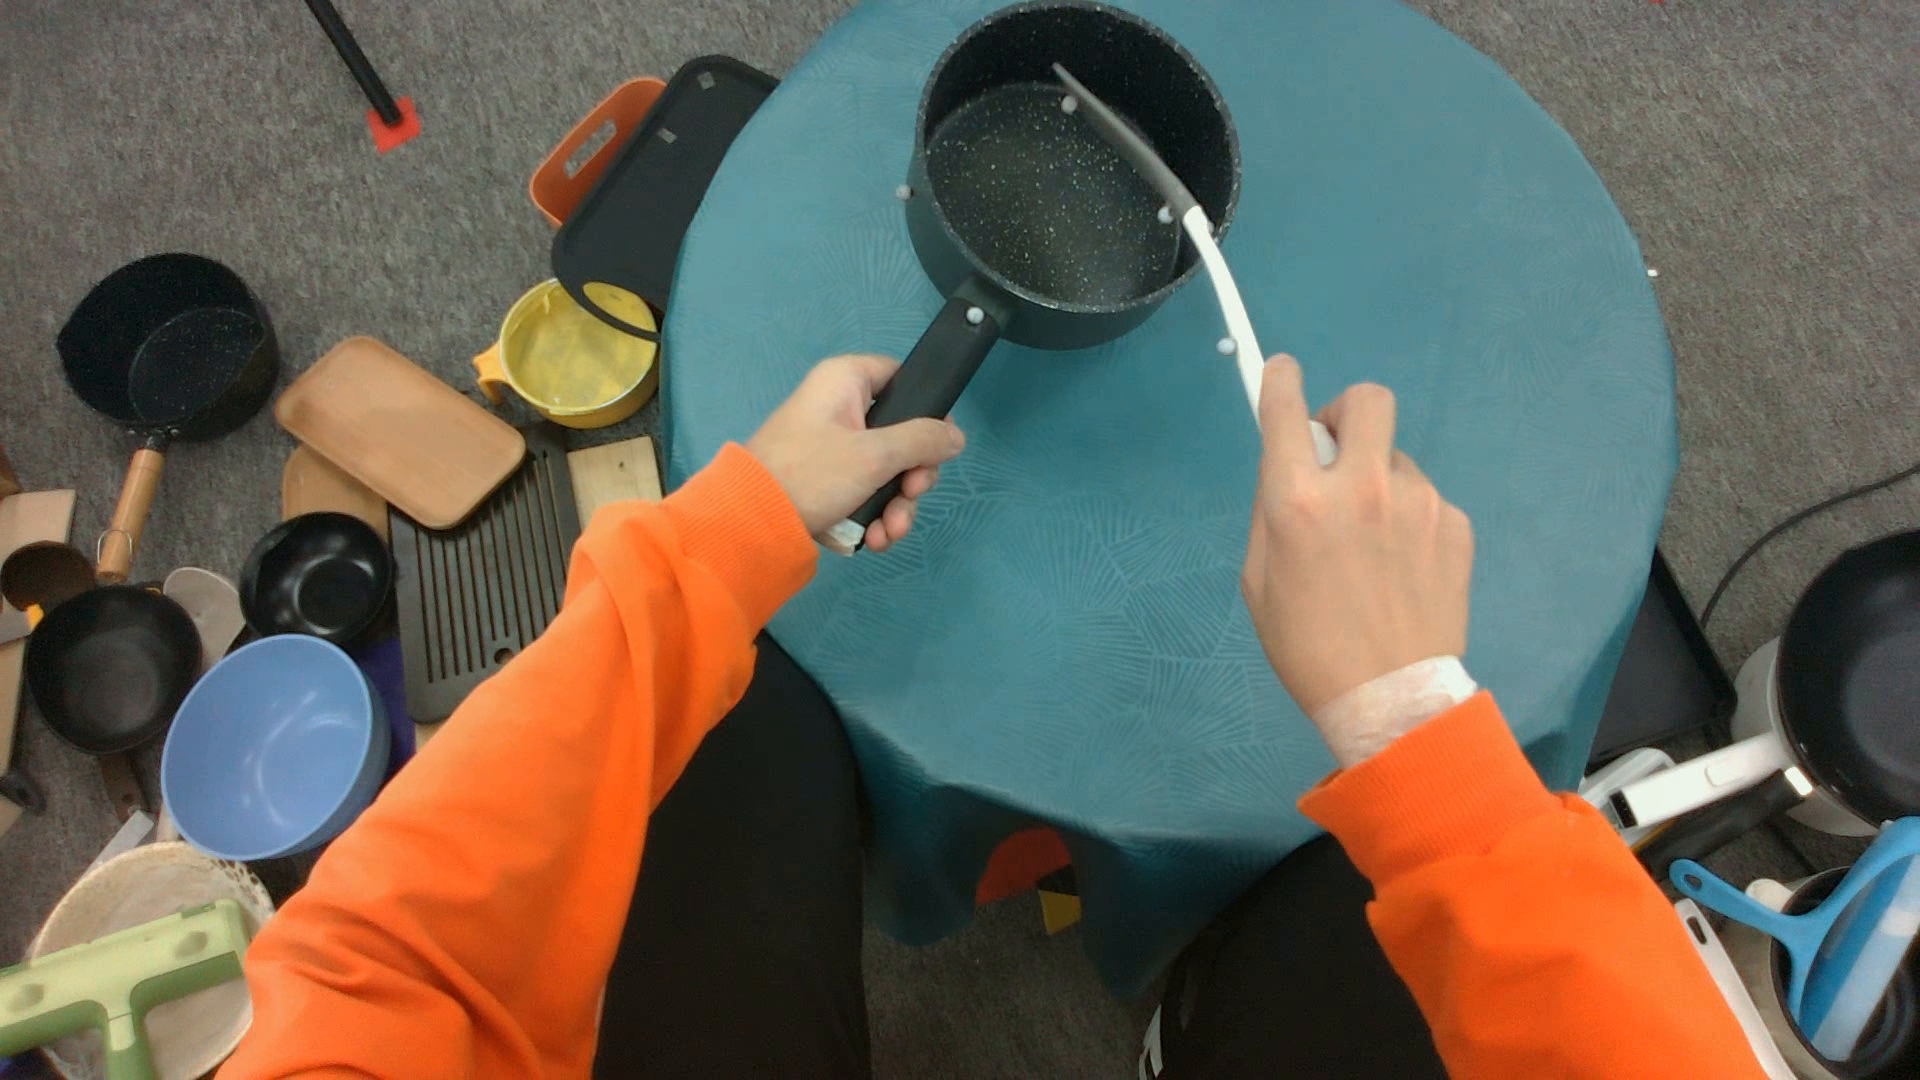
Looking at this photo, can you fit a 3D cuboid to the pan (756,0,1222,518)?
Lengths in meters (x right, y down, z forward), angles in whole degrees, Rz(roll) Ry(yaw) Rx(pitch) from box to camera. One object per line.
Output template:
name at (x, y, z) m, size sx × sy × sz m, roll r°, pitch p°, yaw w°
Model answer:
pan at (0.003, -0.138, 0.709) m, size 0.172 × 0.086 × 0.330 m, roll 35°, pitch 72°, yaw -2°

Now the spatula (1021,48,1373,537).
spatula at (0.104, -0.127, 0.640) m, size 0.032 × 0.059 × 0.288 m, roll -36°, pitch 63°, yaw 21°
